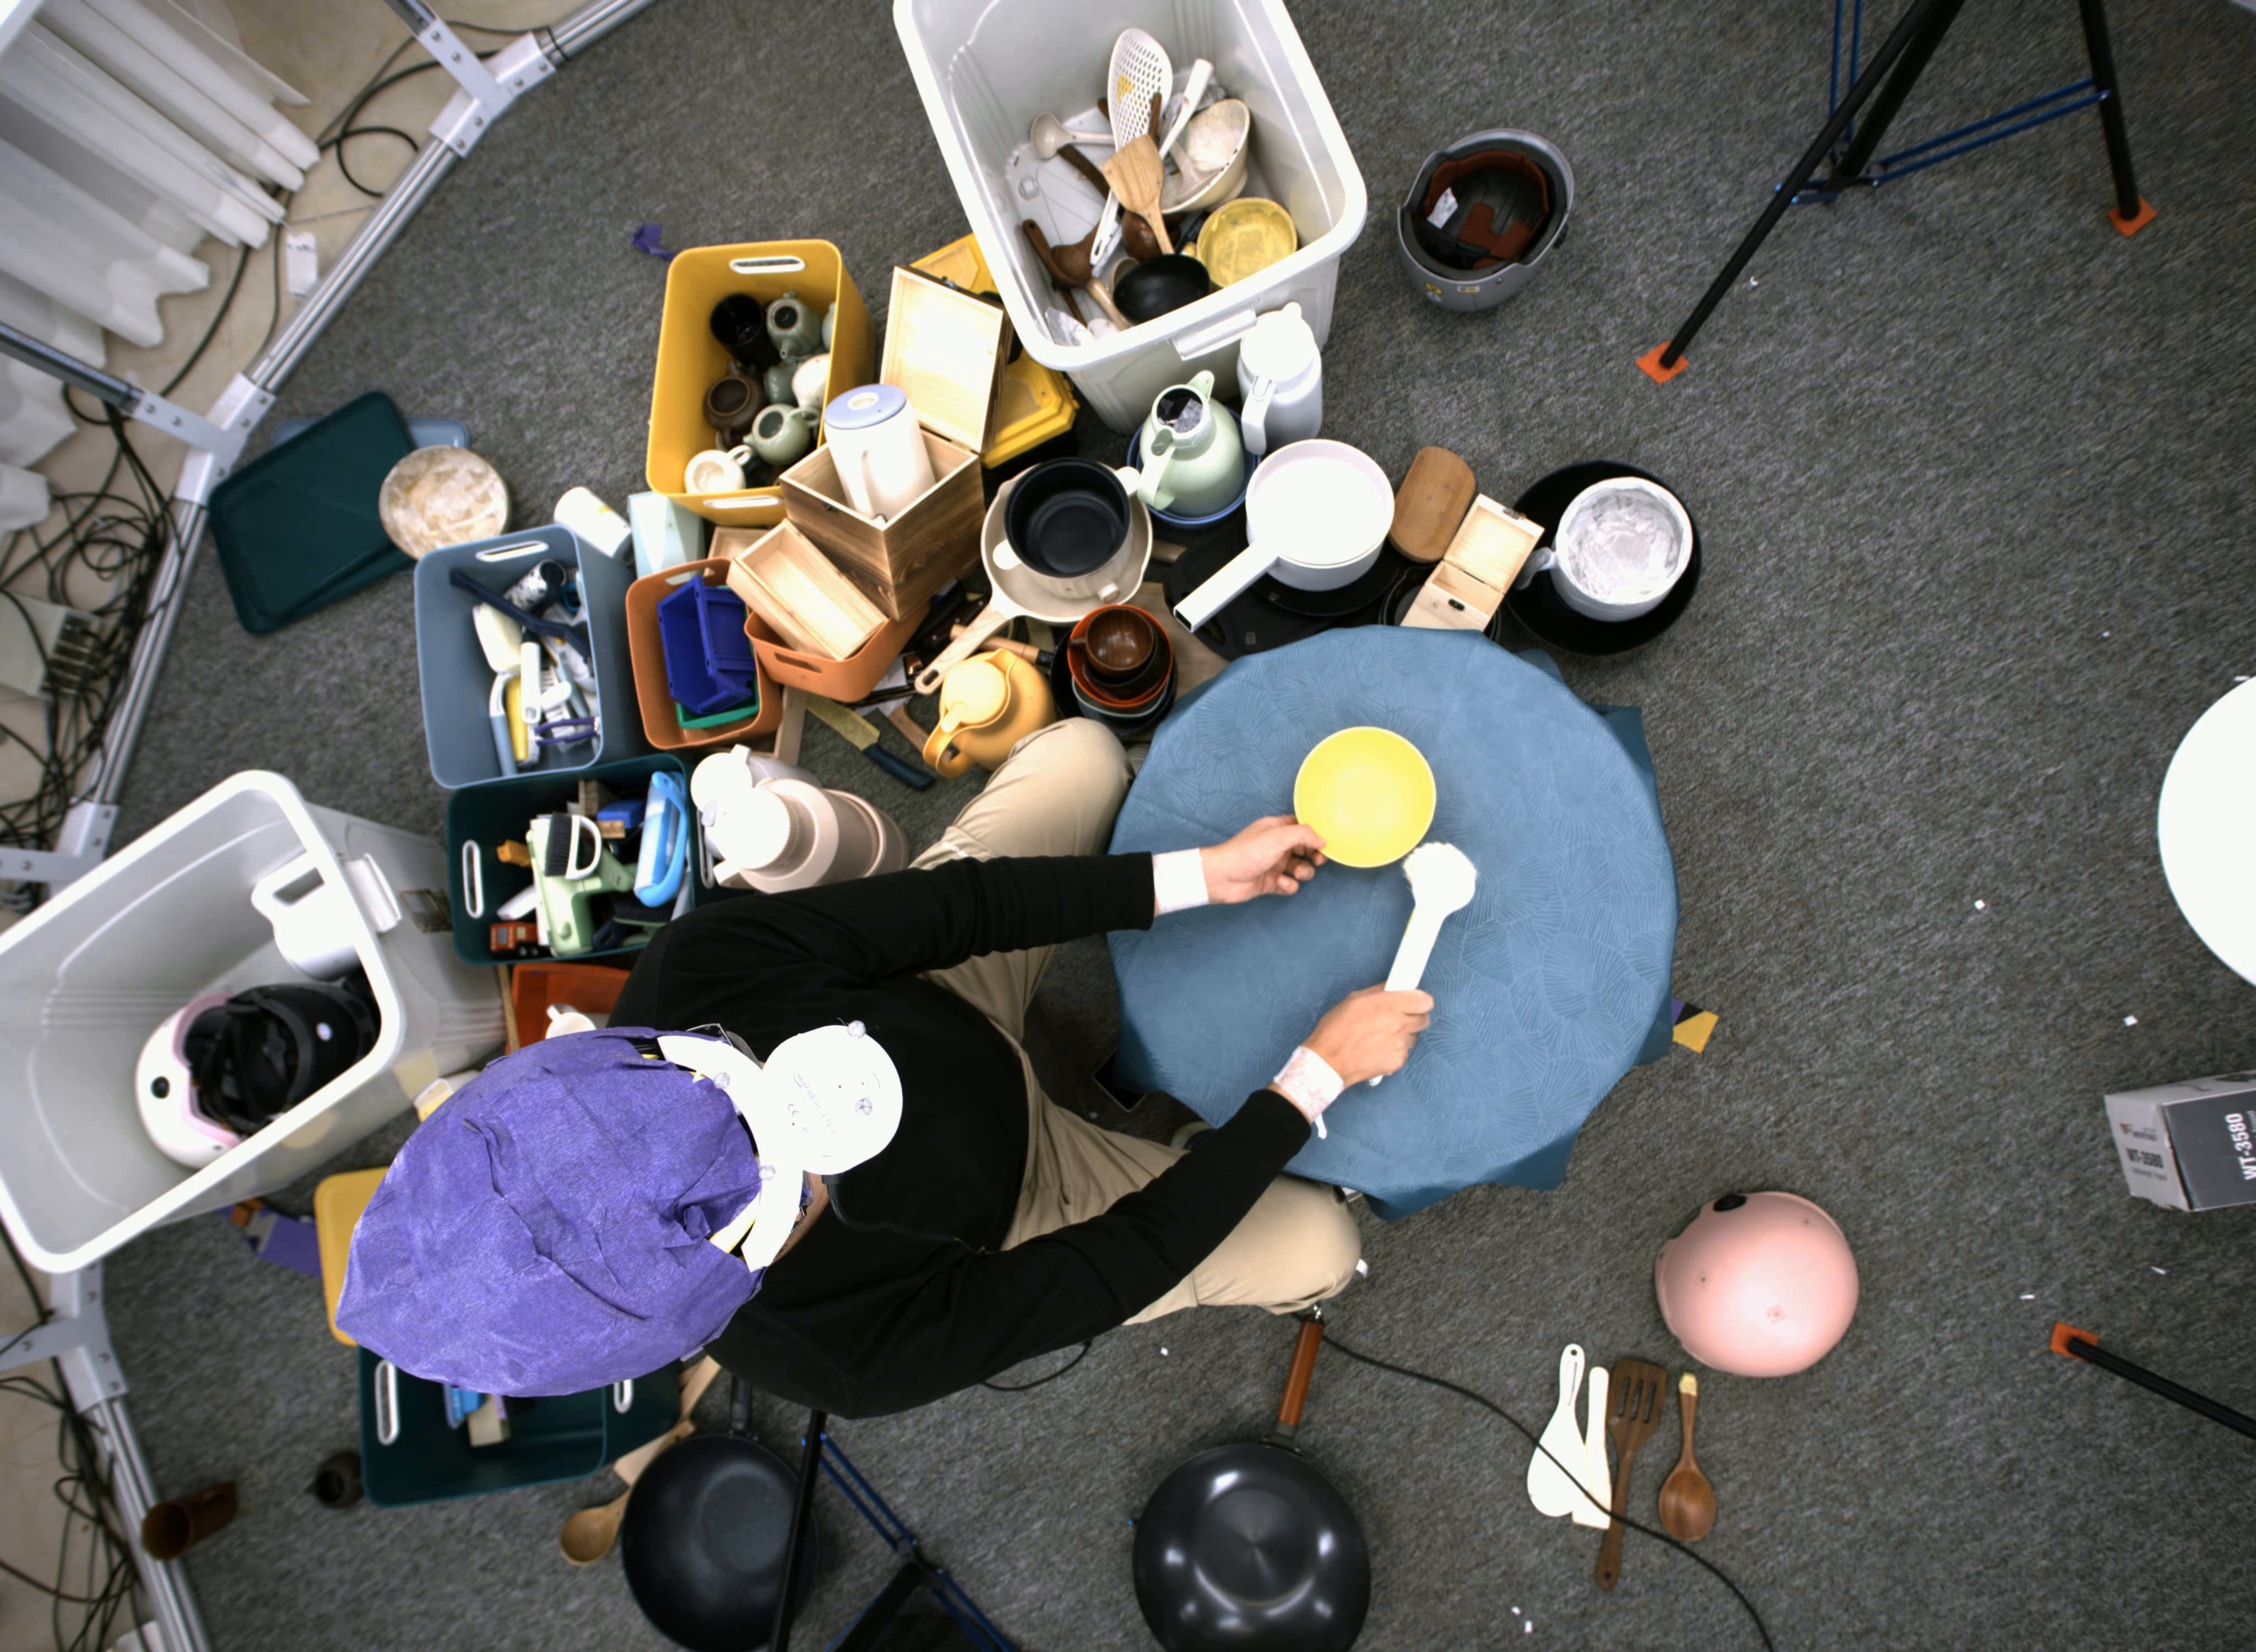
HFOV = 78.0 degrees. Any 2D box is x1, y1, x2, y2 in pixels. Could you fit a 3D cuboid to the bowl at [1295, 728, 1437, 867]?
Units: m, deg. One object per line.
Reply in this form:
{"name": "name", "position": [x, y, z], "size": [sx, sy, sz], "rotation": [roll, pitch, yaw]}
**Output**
{"name": "bowl", "position": [0.250, -0.028, 1.435], "size": [0.146, 0.060, 0.145], "rotation": [-1, 88, 16]}

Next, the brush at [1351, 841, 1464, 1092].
{"name": "brush", "position": [0.275, 0.140, 1.404], "size": [0.068, 0.055, 0.270], "rotation": [16, 107, 1]}
